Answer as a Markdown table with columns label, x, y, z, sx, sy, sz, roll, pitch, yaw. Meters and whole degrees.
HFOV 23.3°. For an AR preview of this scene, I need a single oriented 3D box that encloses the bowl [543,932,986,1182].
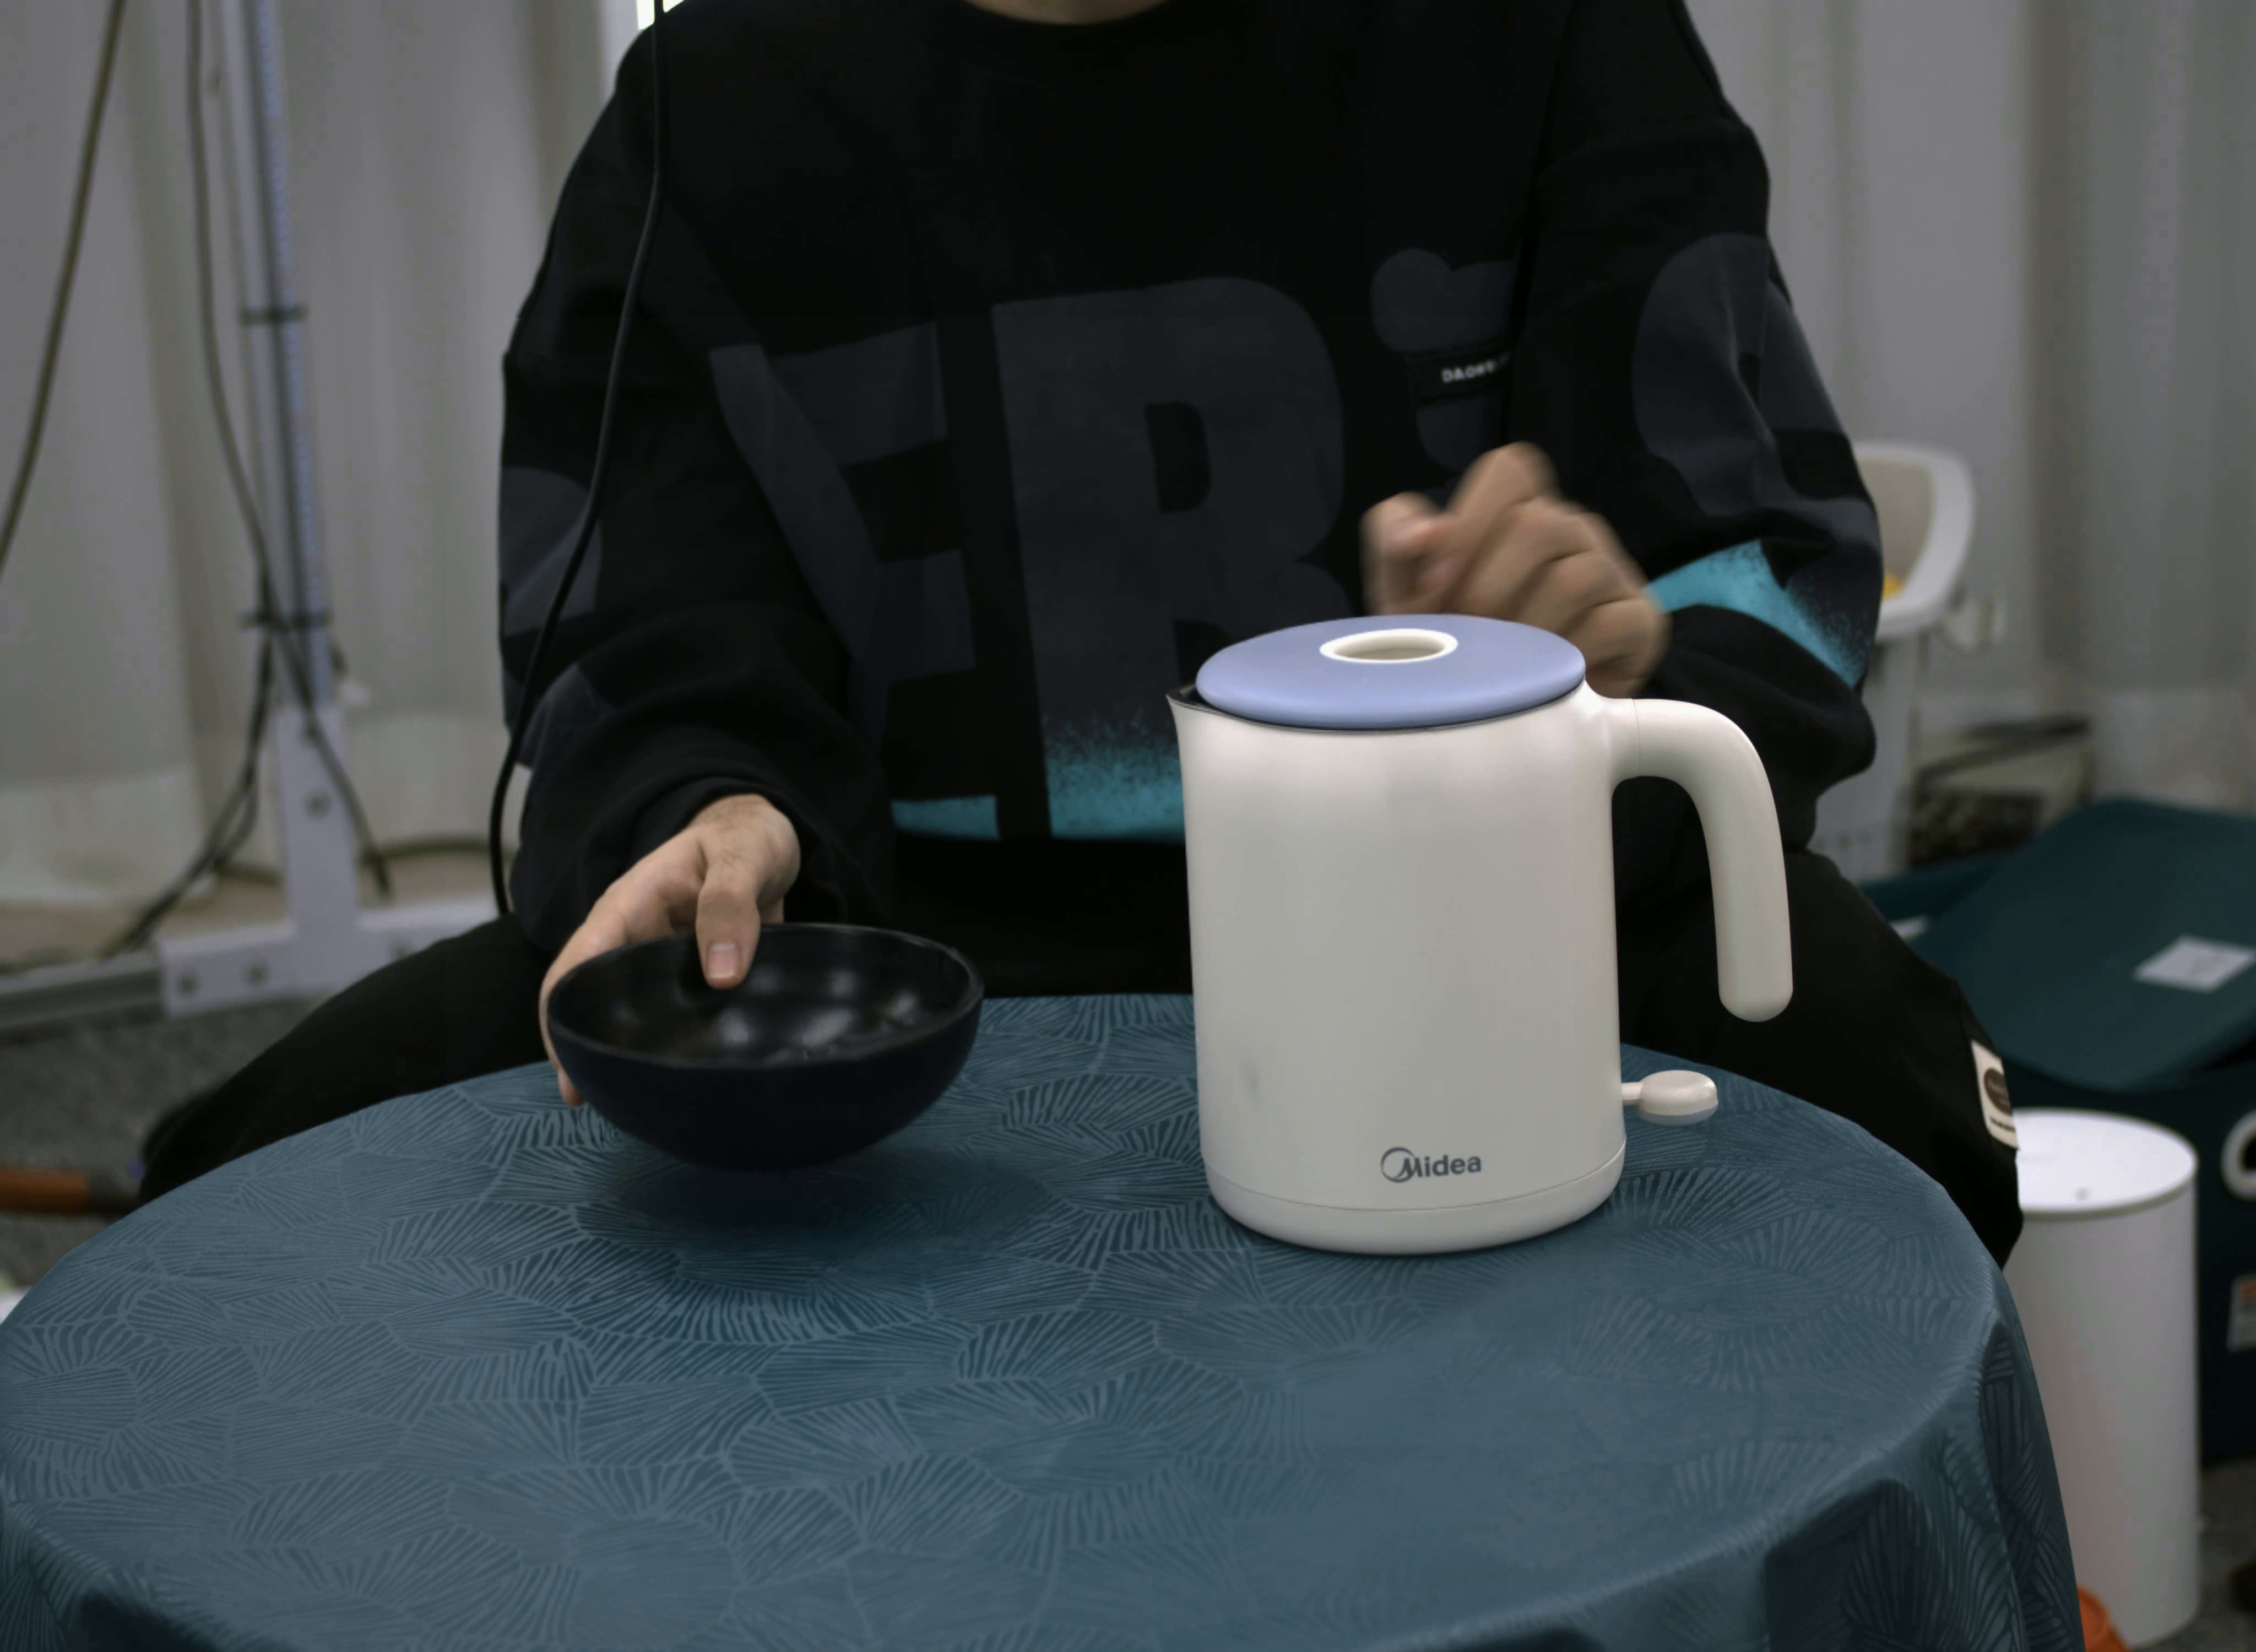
| label | x | y | z | sx | sy | sz | roll | pitch | yaw |
| --- | --- | --- | --- | --- | --- | --- | --- | --- | --- |
| bowl | -0.113 | 0.077 | 1.718 | 0.139 | 0.049 | 0.141 | -2 | 16 | 0 |

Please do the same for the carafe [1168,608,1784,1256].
| label | x | y | z | sx | sy | sz | roll | pitch | yaw |
| --- | --- | --- | --- | --- | --- | --- | --- | --- | --- |
| carafe | 0.108 | 0.031 | 1.679 | 0.190 | 0.182 | 0.133 | -2 | 15 | -4 |
